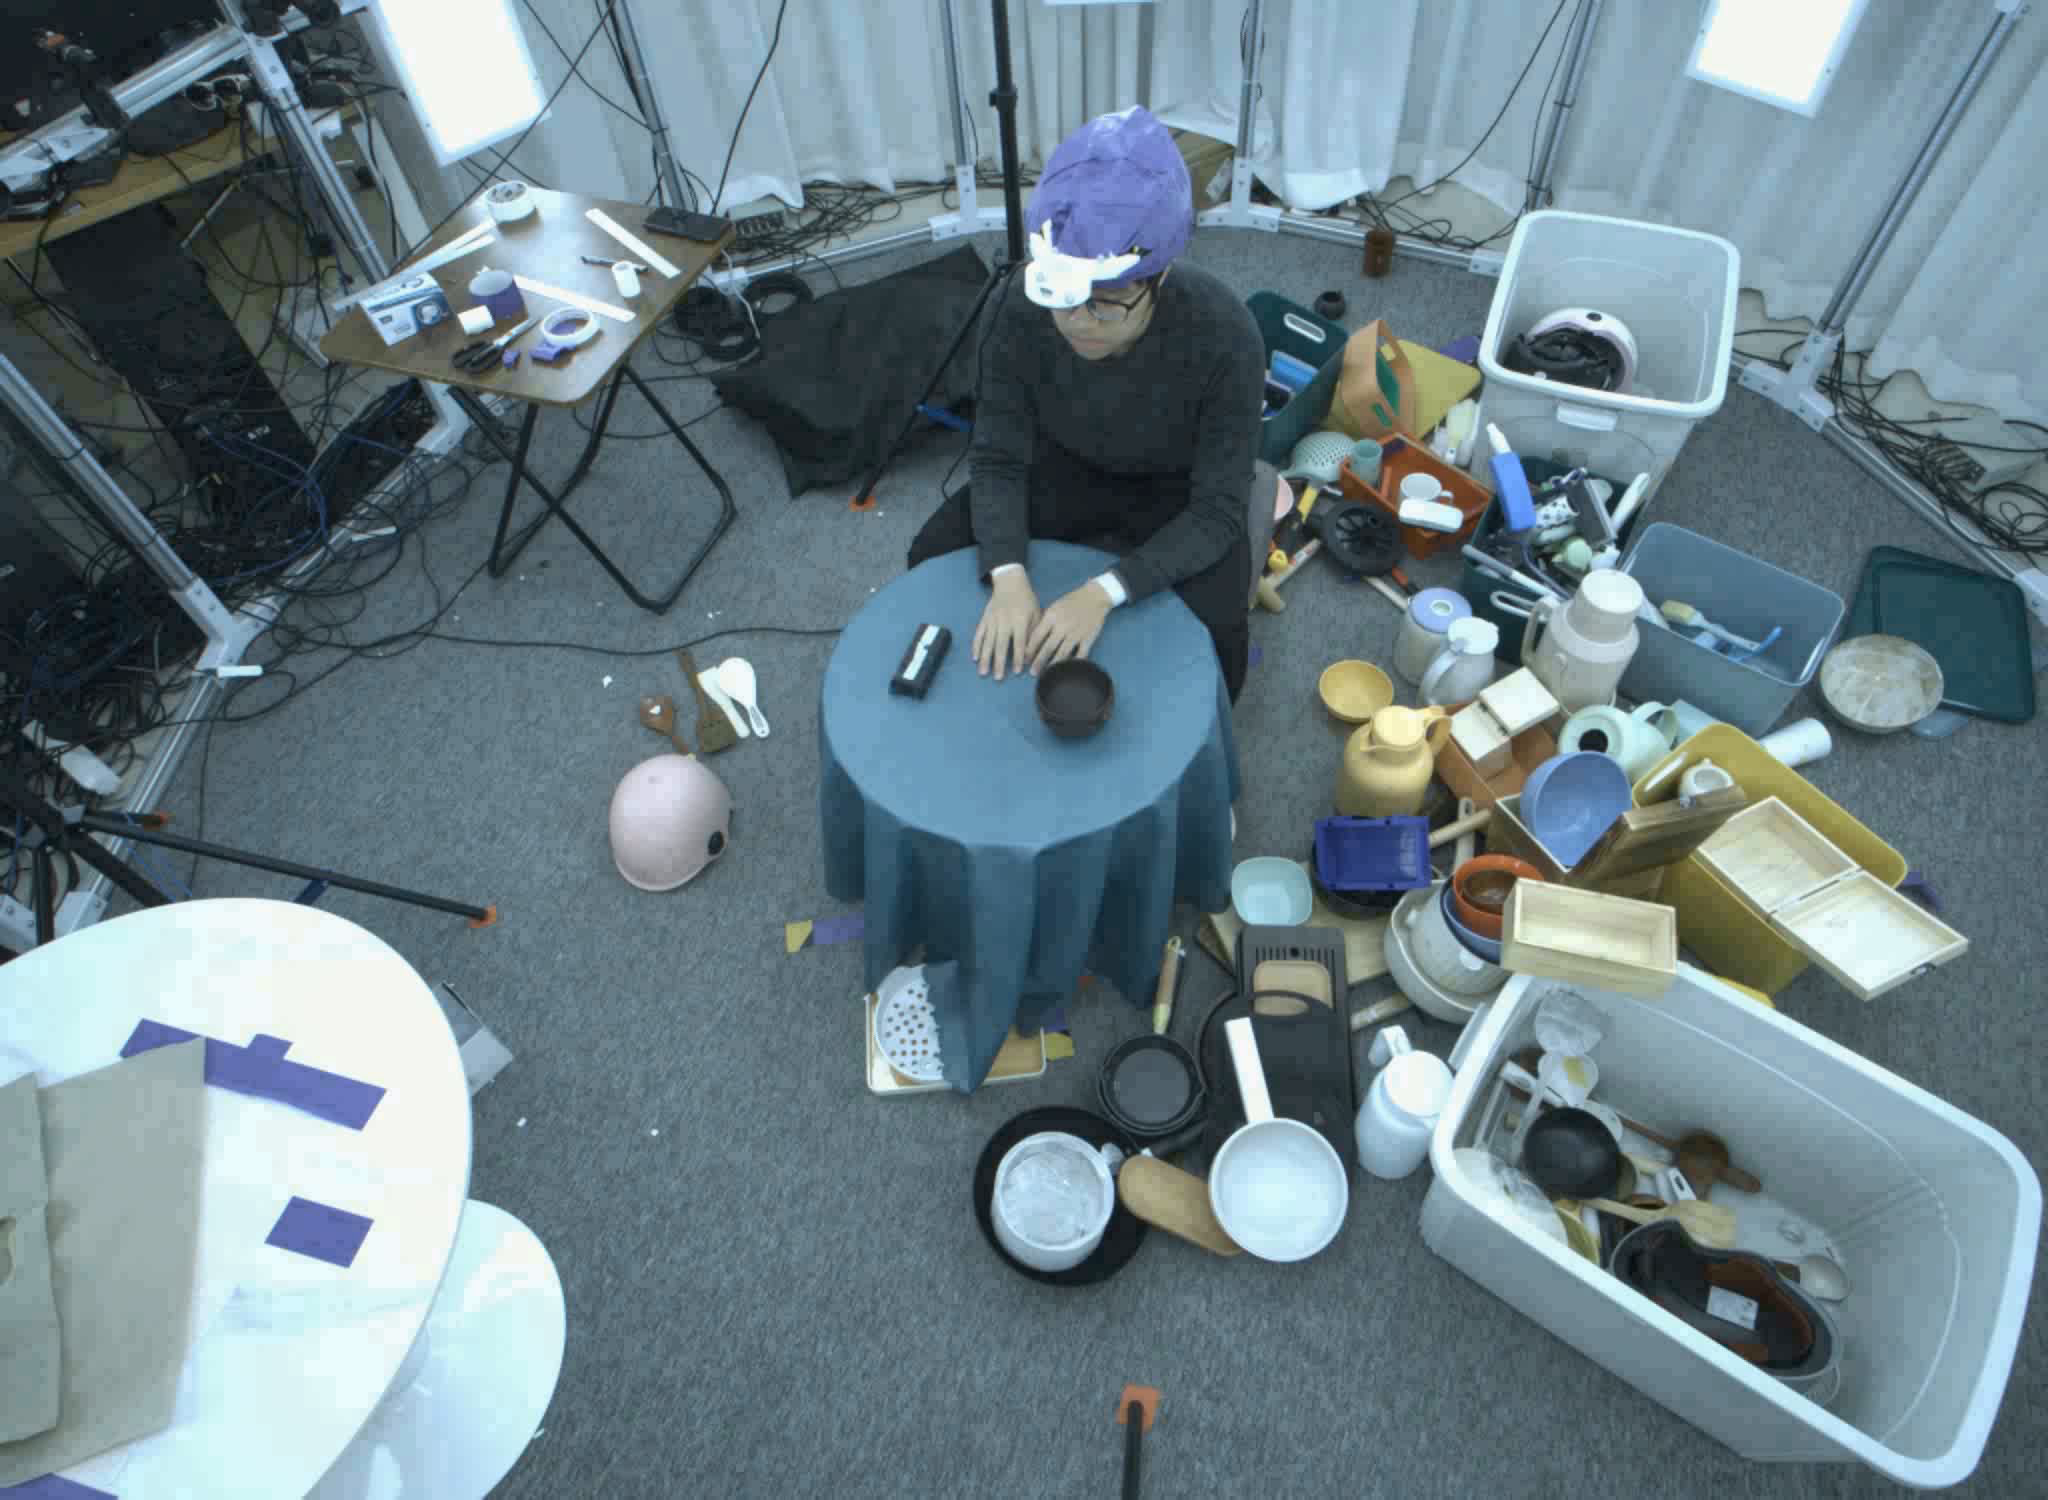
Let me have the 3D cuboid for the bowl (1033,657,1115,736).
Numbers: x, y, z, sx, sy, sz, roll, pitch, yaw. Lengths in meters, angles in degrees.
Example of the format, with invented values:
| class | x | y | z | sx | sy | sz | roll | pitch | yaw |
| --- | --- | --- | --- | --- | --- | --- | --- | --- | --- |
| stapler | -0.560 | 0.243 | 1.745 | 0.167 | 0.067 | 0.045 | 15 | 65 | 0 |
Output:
| class | x | y | z | sx | sy | sz | roll | pitch | yaw |
| --- | --- | --- | --- | --- | --- | --- | --- | --- | --- |
| bowl | 0.074 | -0.070 | 1.791 | 0.118 | 0.071 | 0.117 | -2 | 55 | 4 |

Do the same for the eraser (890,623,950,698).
| class | x | y | z | sx | sy | sz | roll | pitch | yaw |
| --- | --- | --- | --- | --- | --- | --- | --- | --- | --- |
| eraser | -0.159 | -0.137 | 1.873 | 0.053 | 0.031 | 0.125 | 15 | 56 | 9 |
